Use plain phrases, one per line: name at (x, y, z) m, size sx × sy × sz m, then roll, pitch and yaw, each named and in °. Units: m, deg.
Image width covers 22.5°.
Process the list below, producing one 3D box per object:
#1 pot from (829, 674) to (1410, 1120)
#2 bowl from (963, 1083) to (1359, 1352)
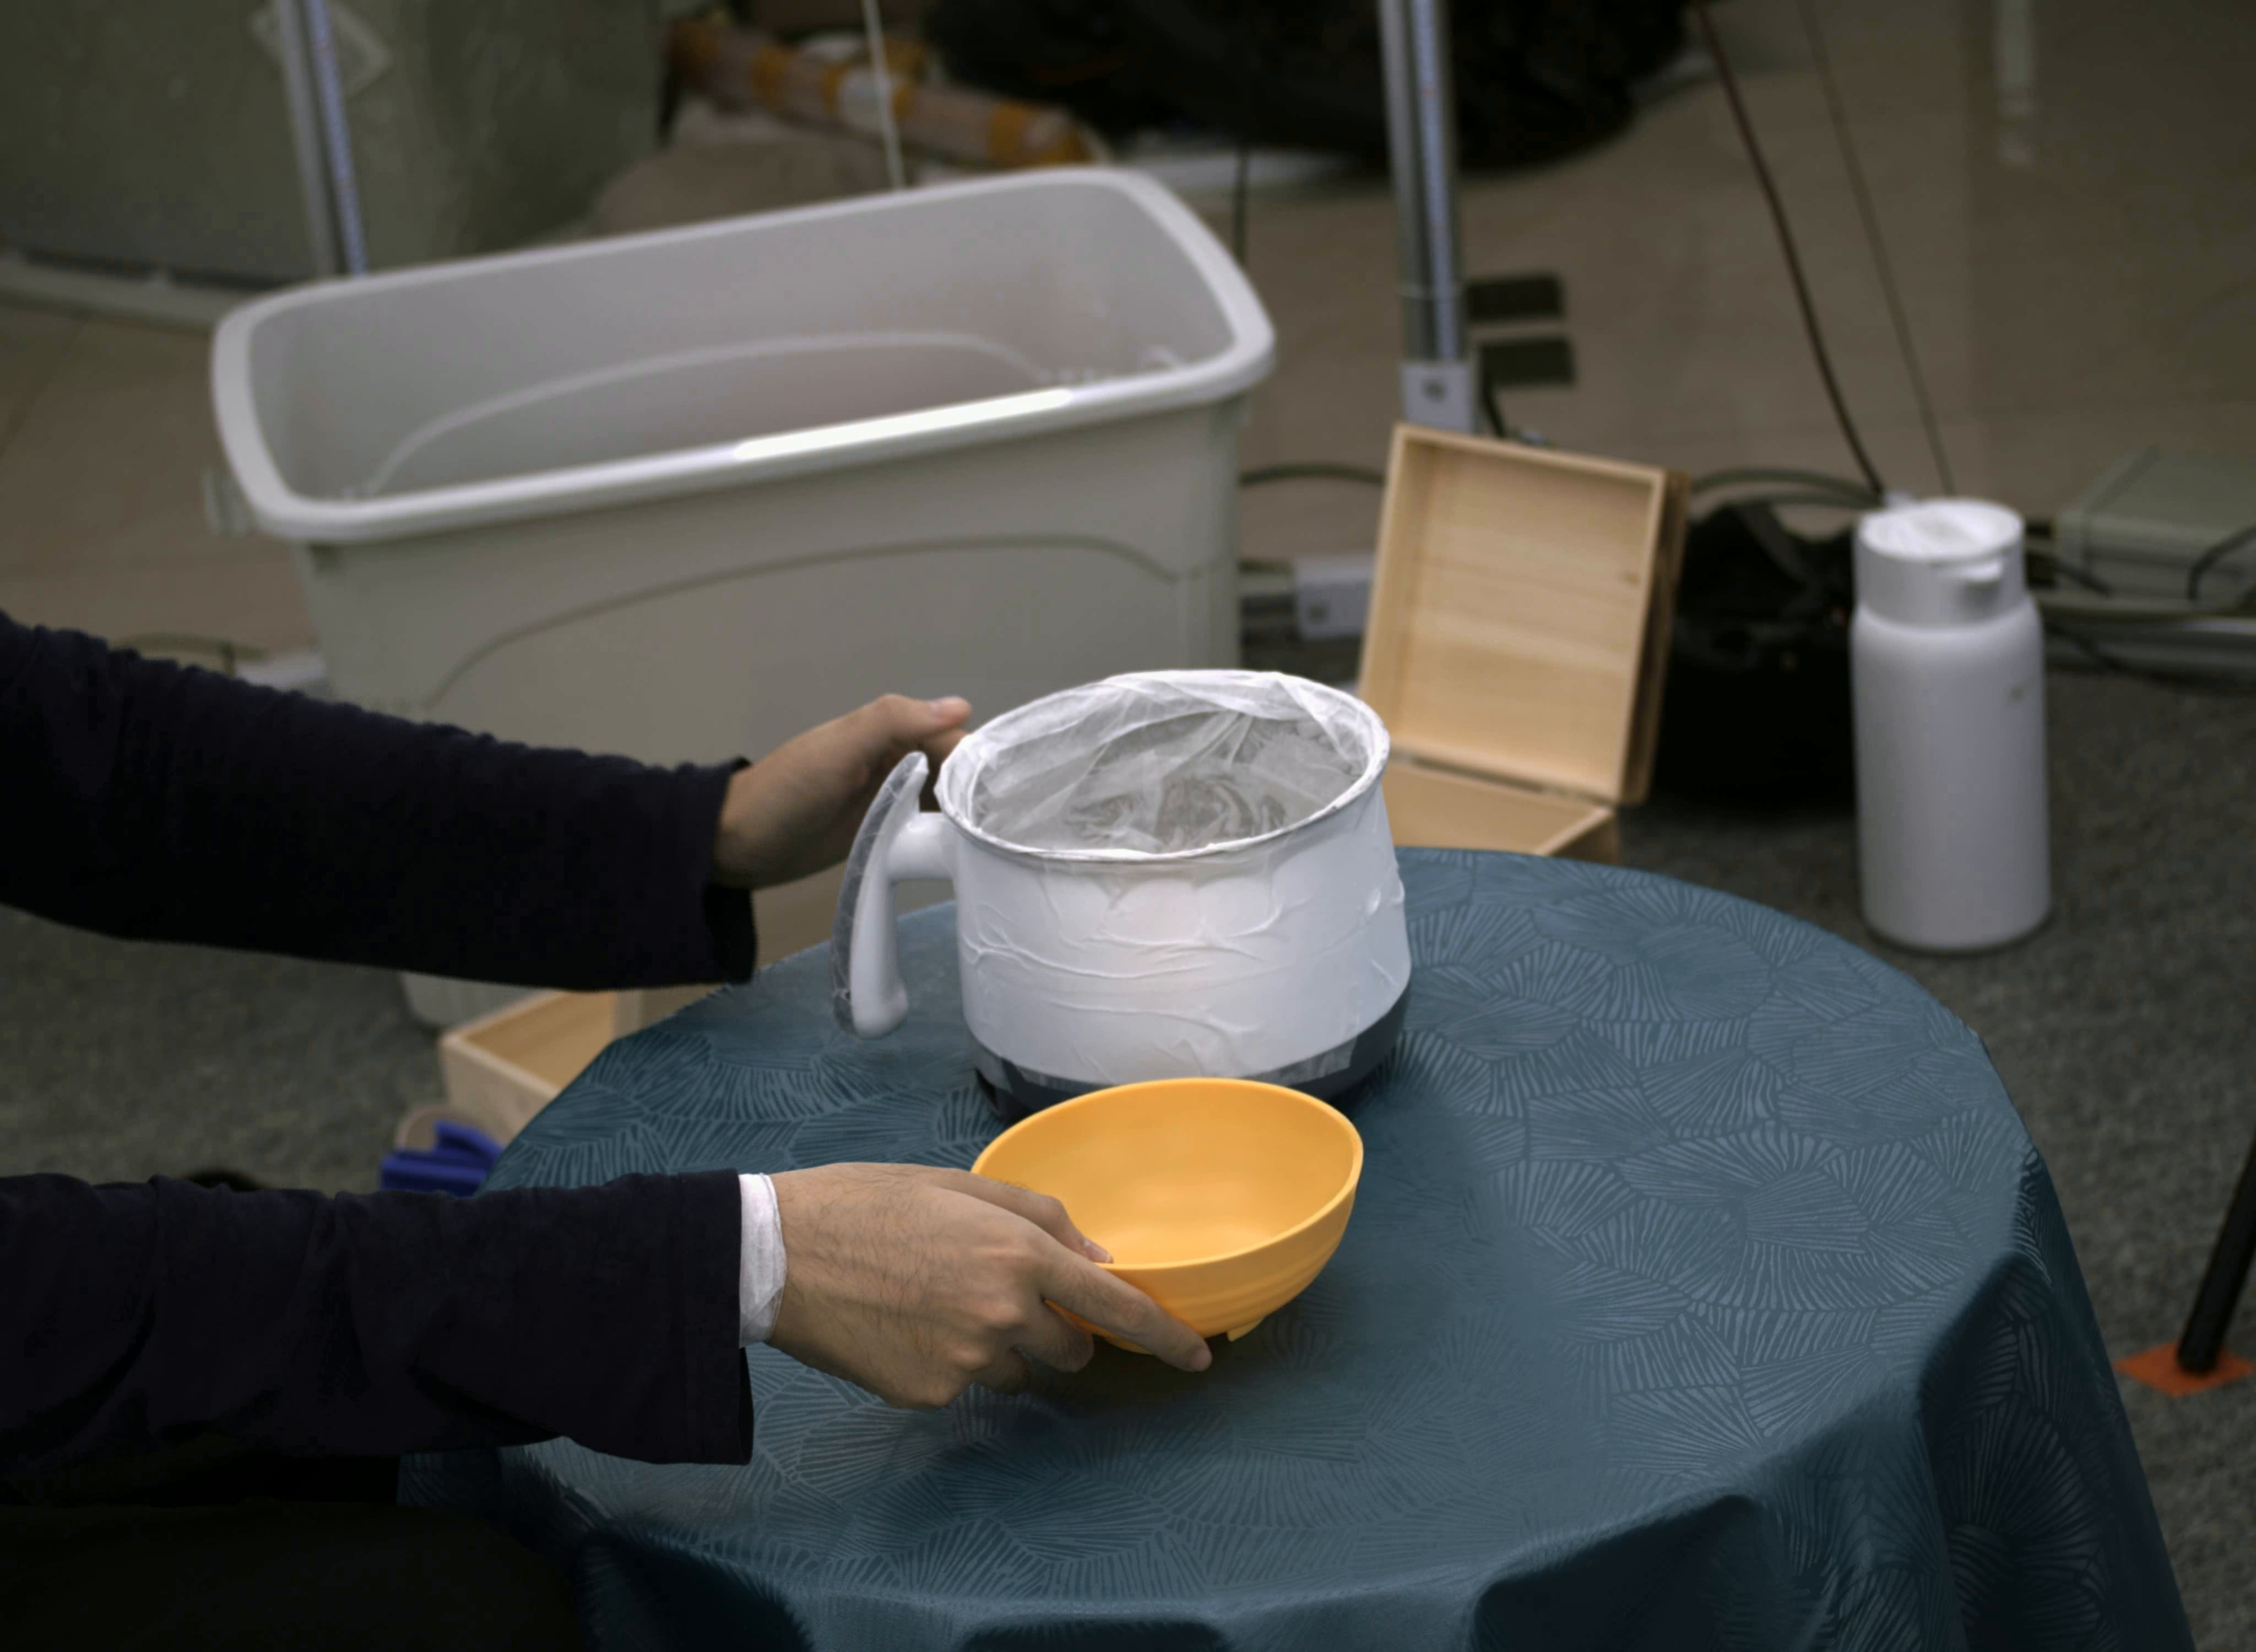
pot at (-0.007, 0.032, 2.217) m, size 0.233 × 0.138 × 0.176 m, roll 0°, pitch 23°, yaw 11°
bowl at (0.014, 0.149, 2.052) m, size 0.145 × 0.061 × 0.143 m, roll -5°, pitch 24°, yaw 2°
